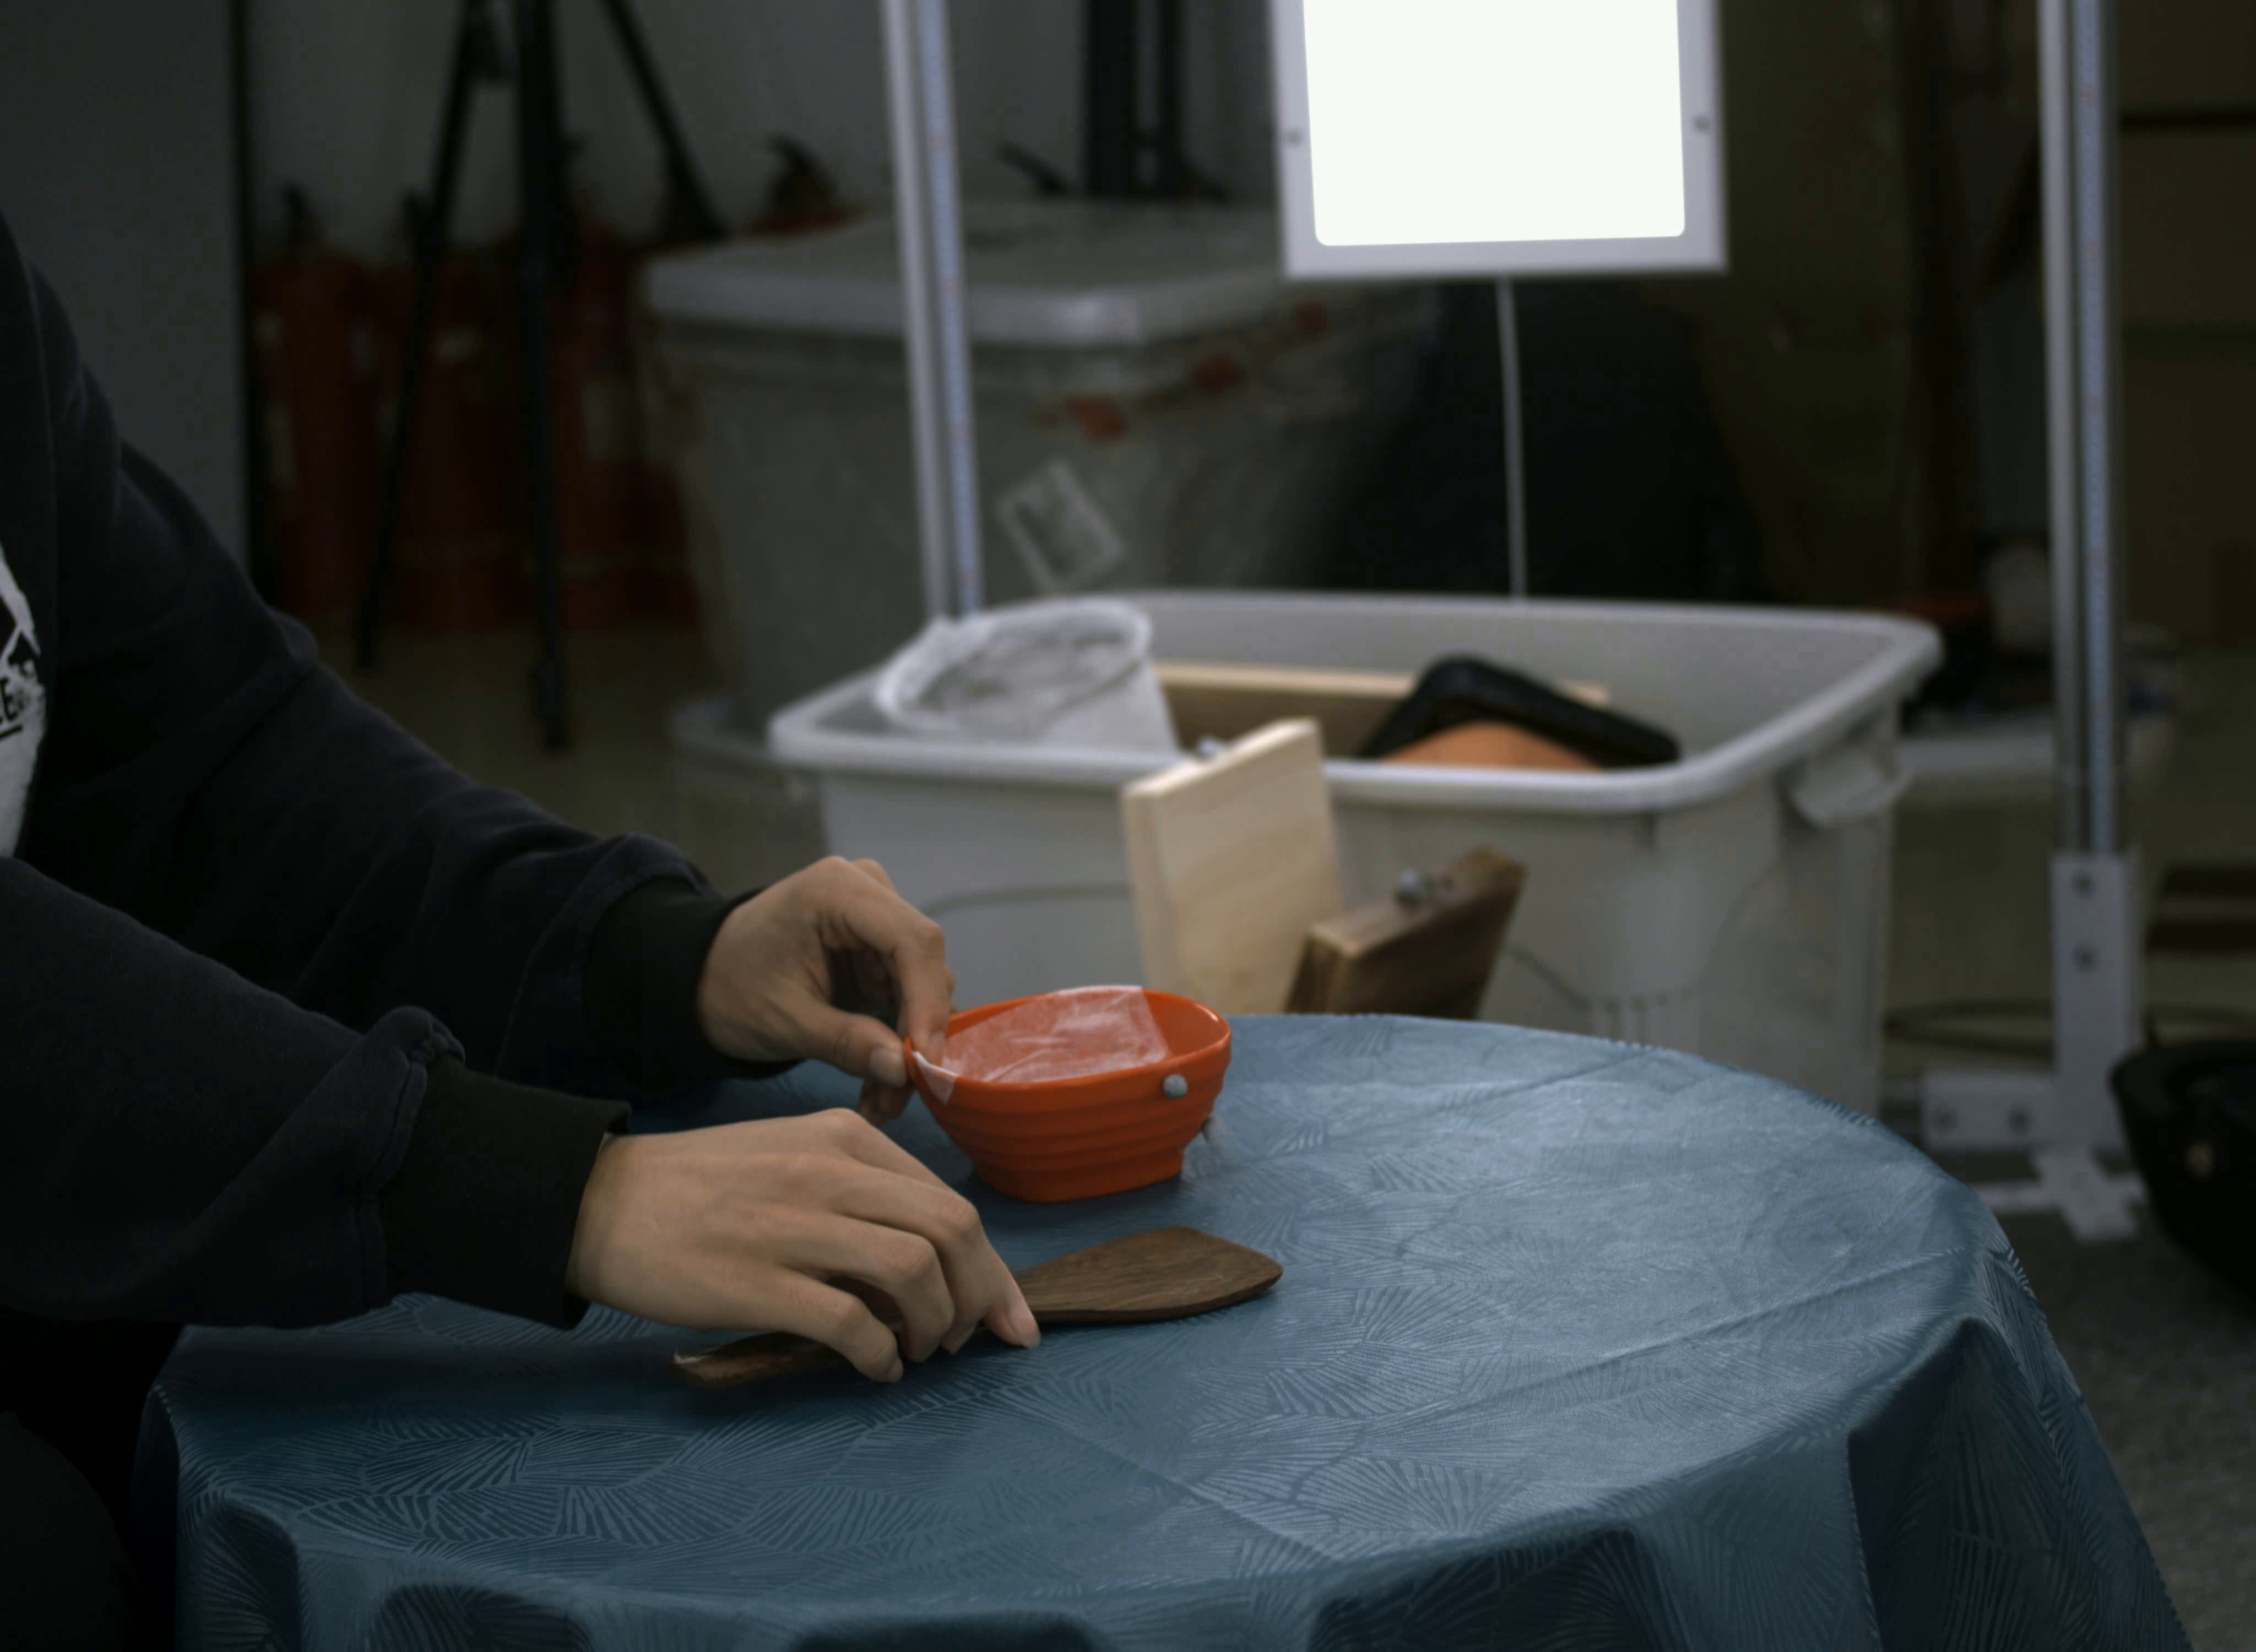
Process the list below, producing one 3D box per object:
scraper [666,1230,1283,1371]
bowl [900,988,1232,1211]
[{"bbox_3d":[-0.051,0.154,1.760,0.206,0.011,0.077,-7,12,-31],"label":"scraper"},{"bbox_3d":[-0.020,0.098,1.923,0.118,0.051,0.119,-5,16,0],"label":"bowl"}]
